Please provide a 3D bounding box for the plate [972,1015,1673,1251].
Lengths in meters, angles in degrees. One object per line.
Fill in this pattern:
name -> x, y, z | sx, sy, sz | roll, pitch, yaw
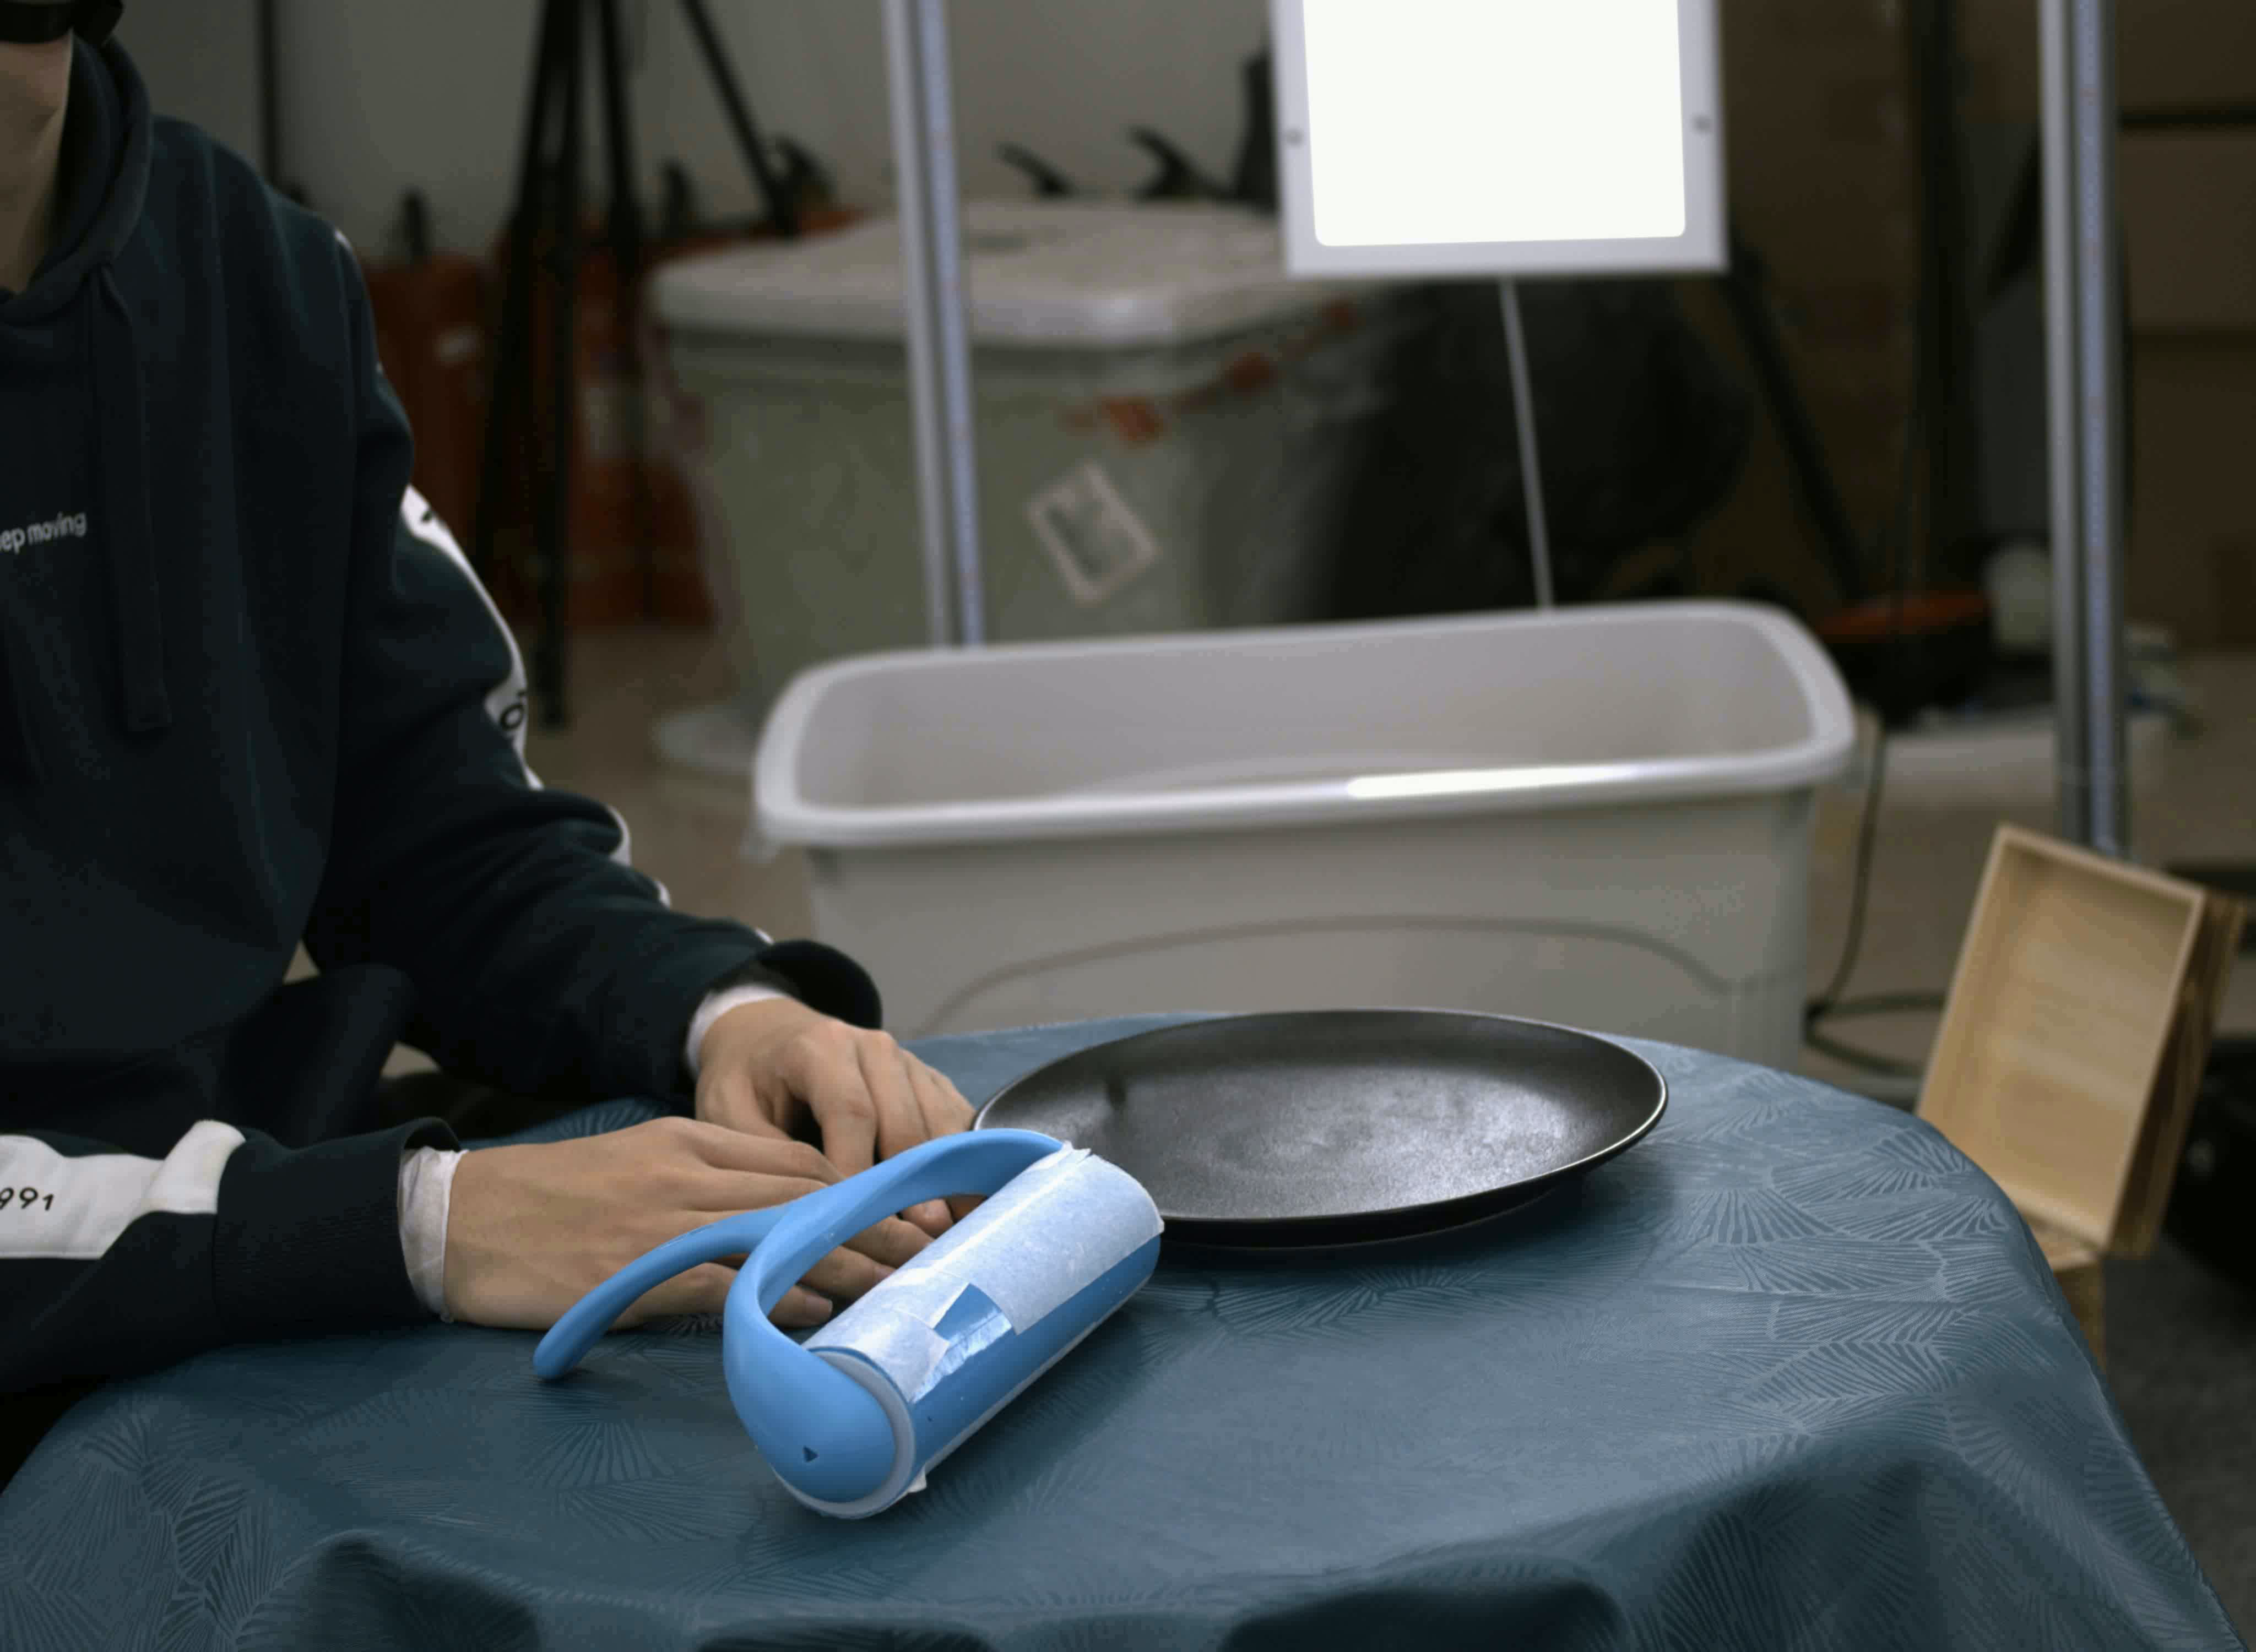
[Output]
plate -> 0.068, 0.108, 1.900 | 0.244, 0.023, 0.244 | -5, 13, 0

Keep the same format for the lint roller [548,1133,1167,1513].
lint roller -> -0.102, 0.152, 1.712 | 0.183, 0.068, 0.225 | -1, 15, 21
